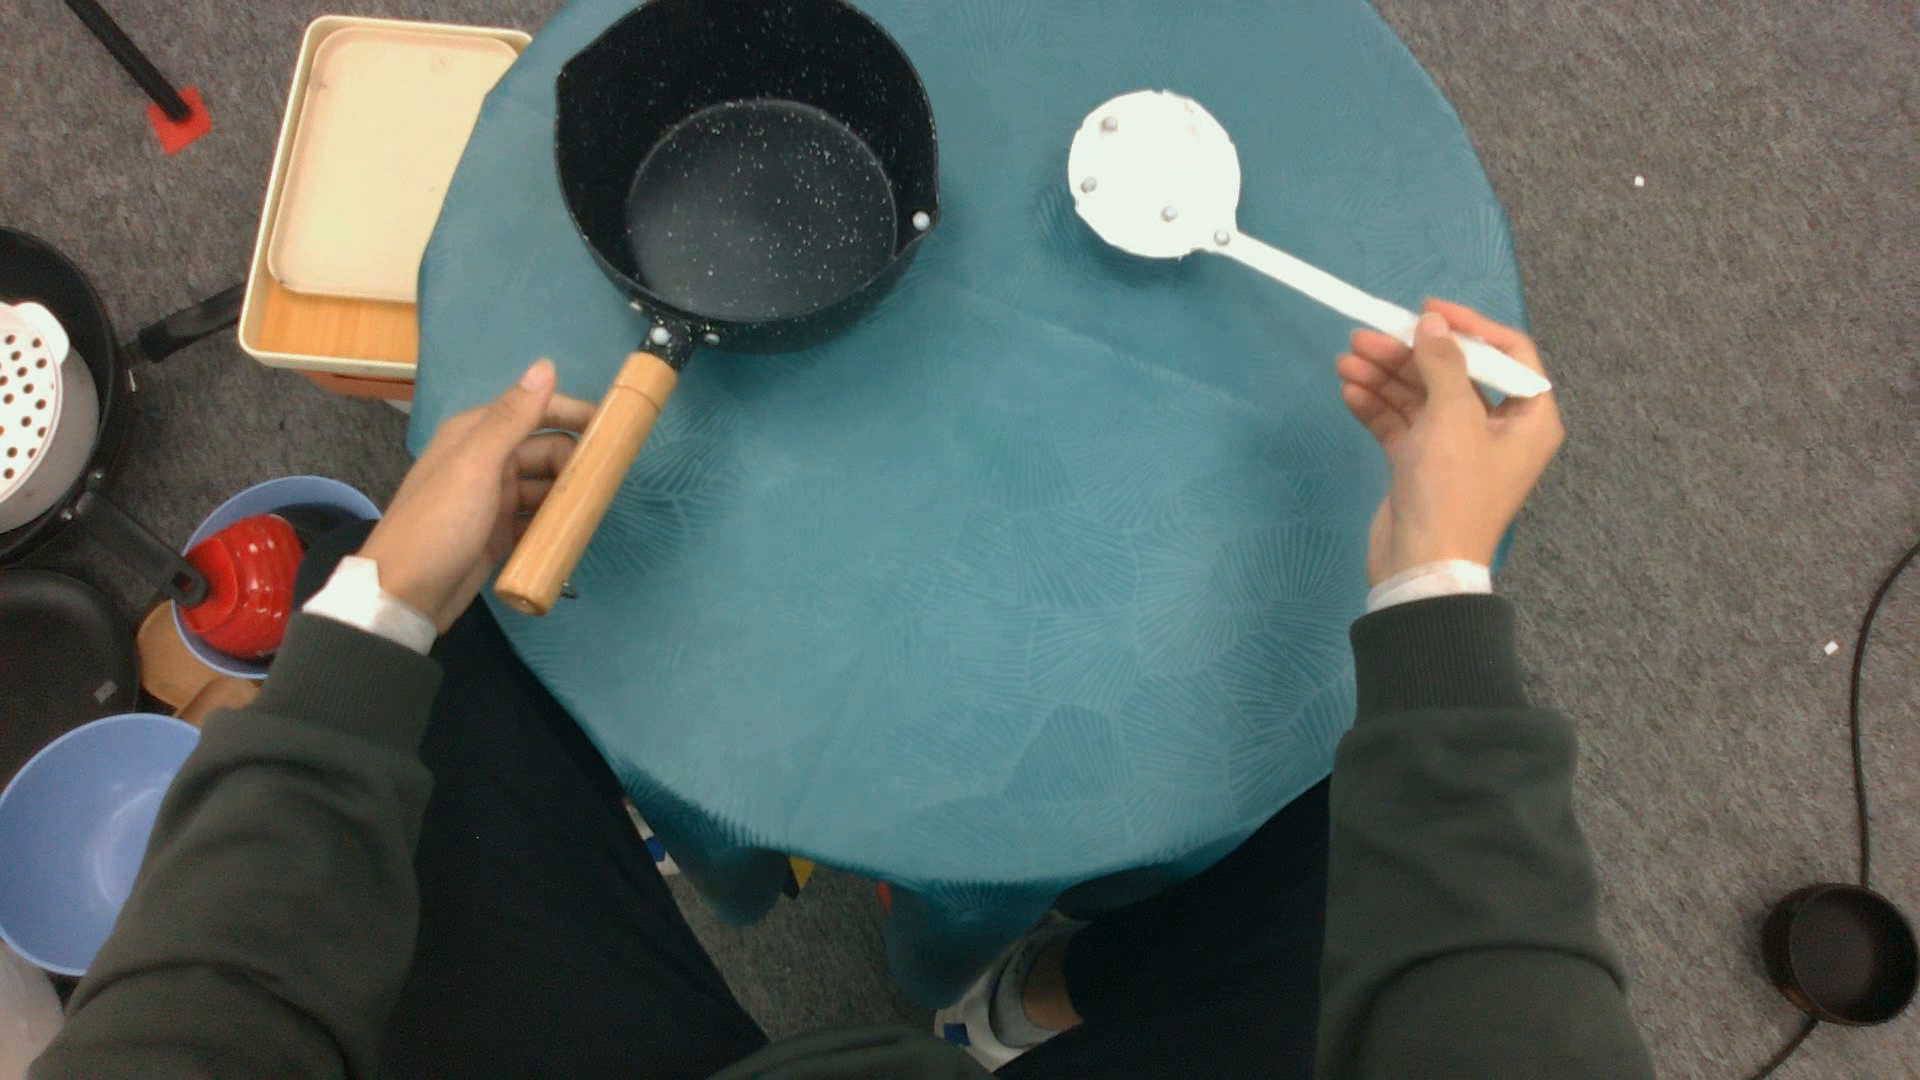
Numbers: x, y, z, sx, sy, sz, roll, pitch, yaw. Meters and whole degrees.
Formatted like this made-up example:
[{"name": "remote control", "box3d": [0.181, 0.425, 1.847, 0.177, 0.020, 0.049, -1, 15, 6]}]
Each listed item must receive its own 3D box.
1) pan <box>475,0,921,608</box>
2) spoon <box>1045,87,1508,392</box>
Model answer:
[{"name": "pan", "box3d": [-0.142, -0.115, 0.680, 0.207, 0.108, 0.344, 19, 74, 0]}, {"name": "spoon", "box3d": [0.148, -0.149, 0.679, 0.101, 0.059, 0.277, -42, 50, -10]}]
